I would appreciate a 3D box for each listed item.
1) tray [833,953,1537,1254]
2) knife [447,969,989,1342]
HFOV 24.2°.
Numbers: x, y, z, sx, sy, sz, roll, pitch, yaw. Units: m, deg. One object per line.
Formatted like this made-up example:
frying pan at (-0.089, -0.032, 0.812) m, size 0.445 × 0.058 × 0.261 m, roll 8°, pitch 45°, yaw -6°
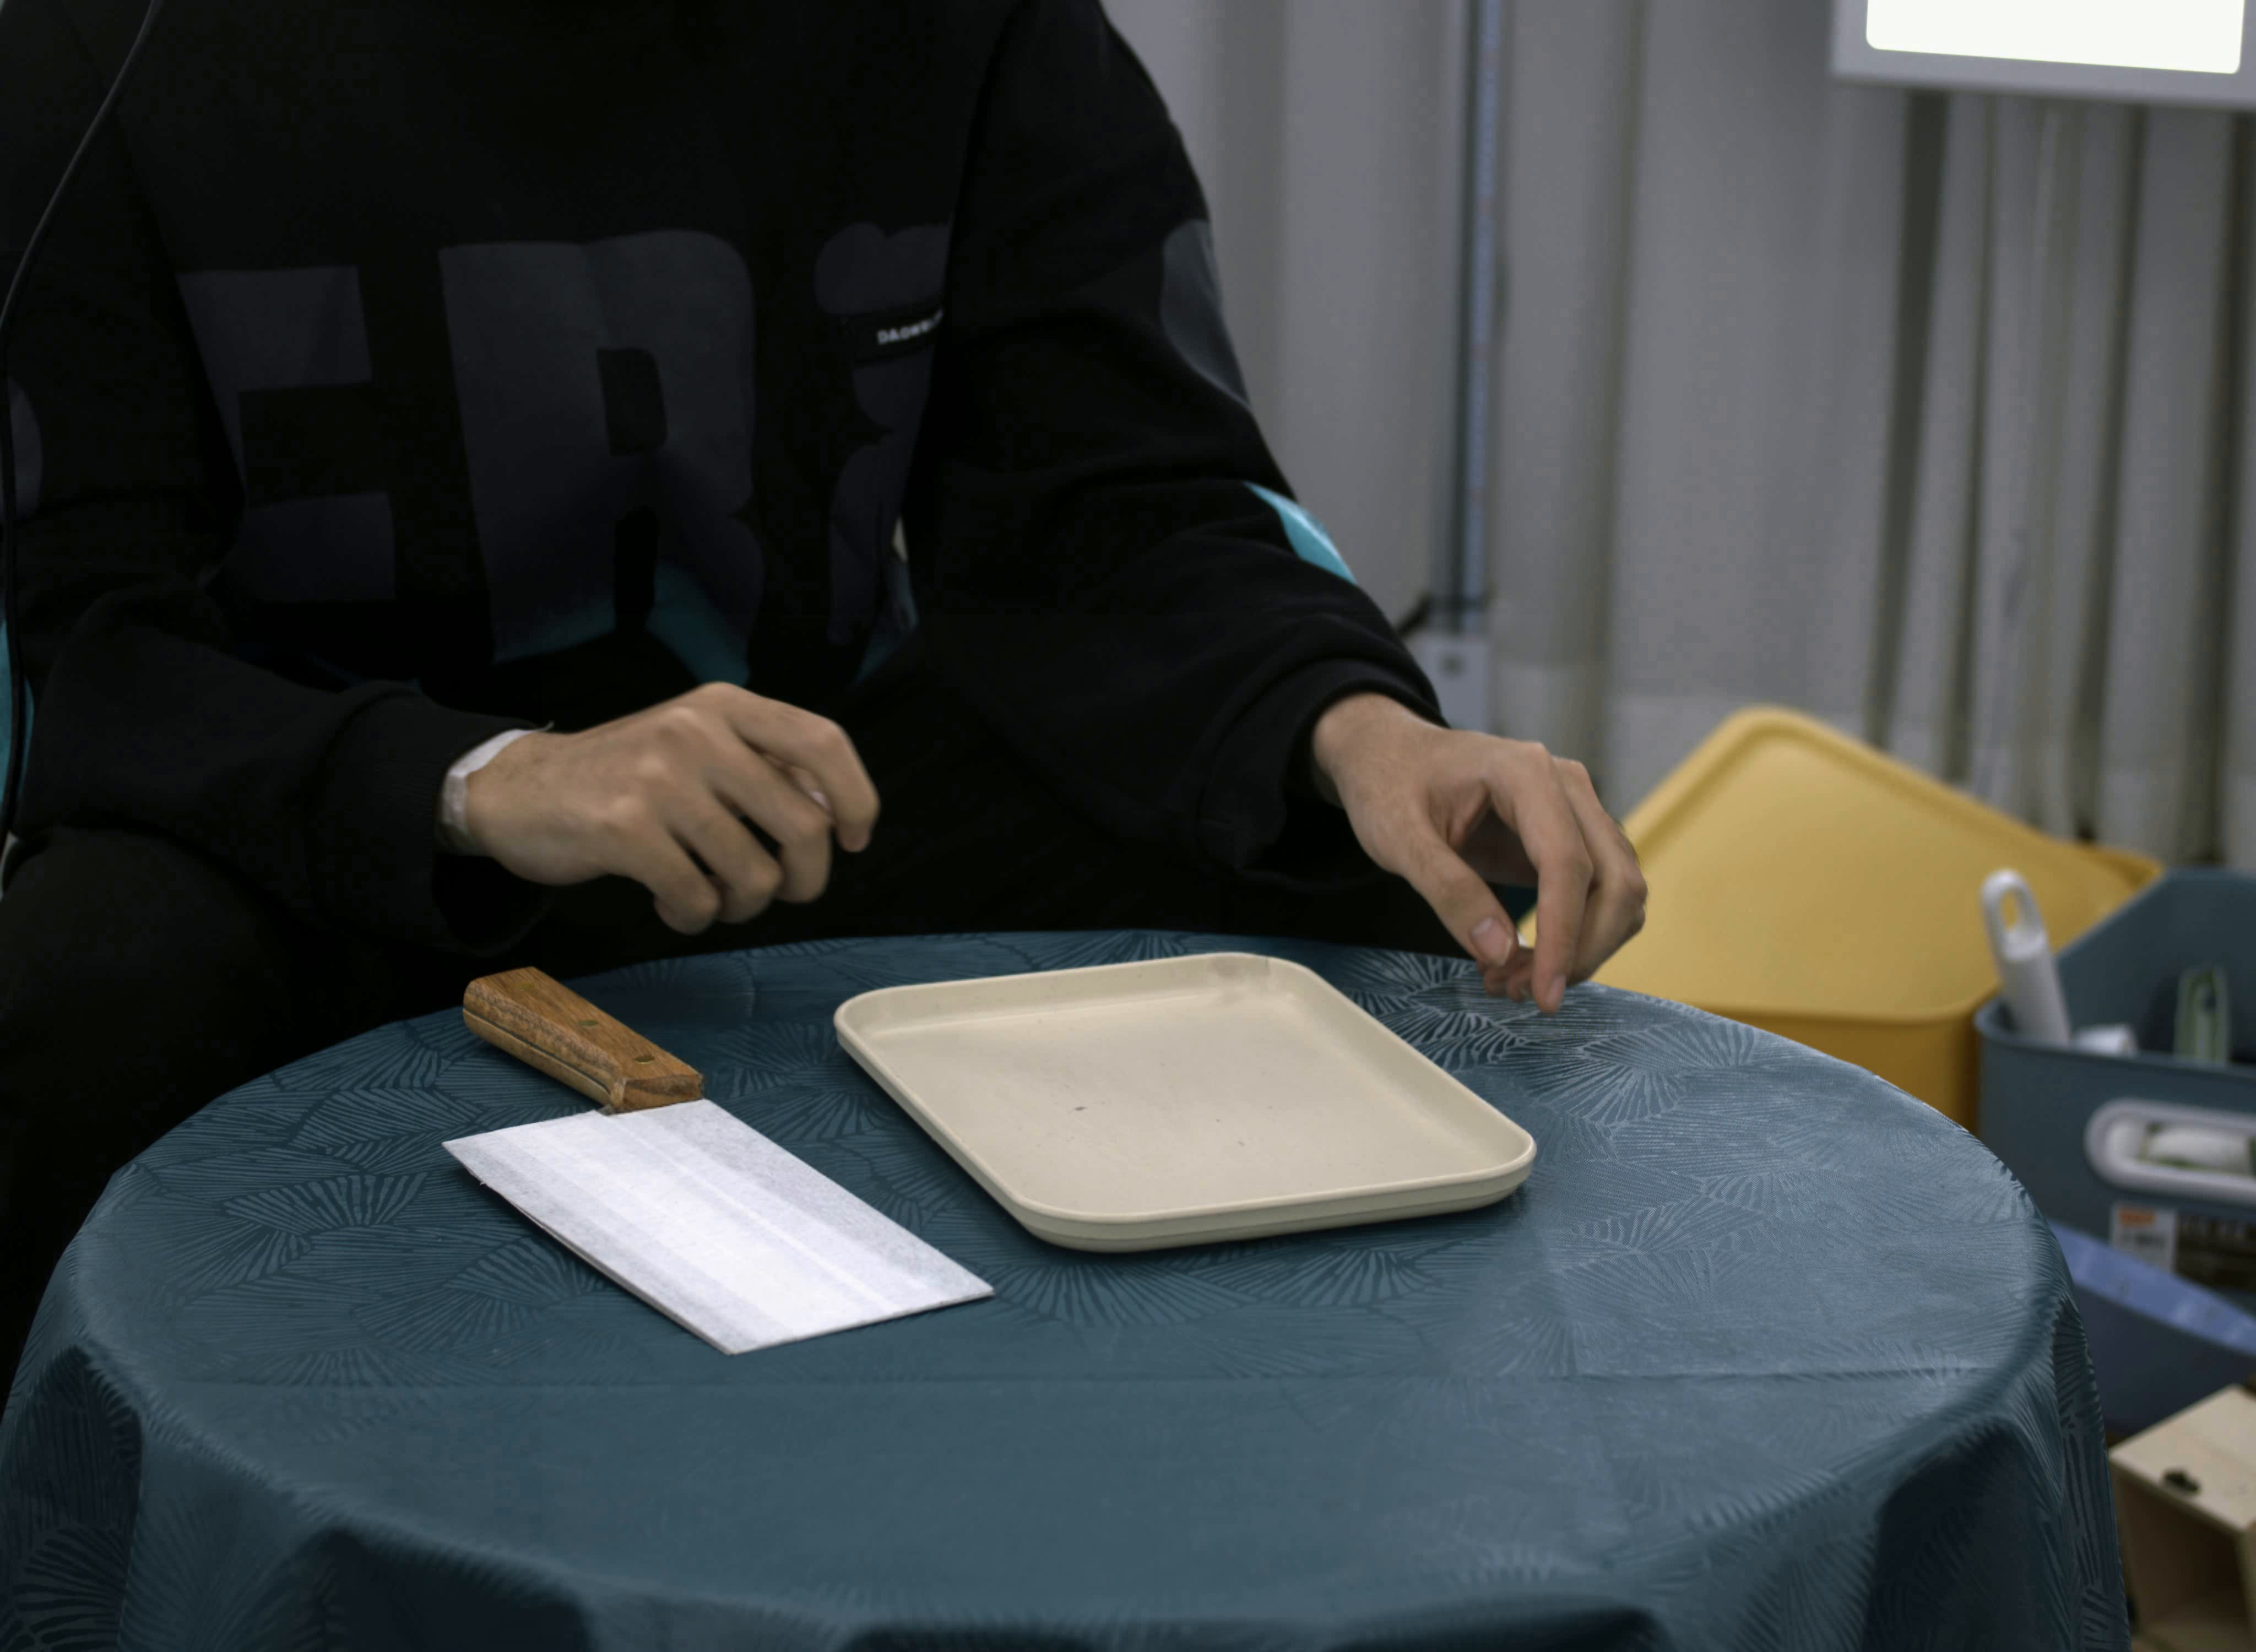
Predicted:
tray at (0.014, 0.087, 1.679) m, size 0.172 × 0.017 × 0.237 m, roll -6°, pitch 17°, yaw -19°
knife at (-0.155, 0.101, 1.628) m, size 0.093 × 0.021 × 0.301 m, roll -11°, pitch 22°, yaw -31°
